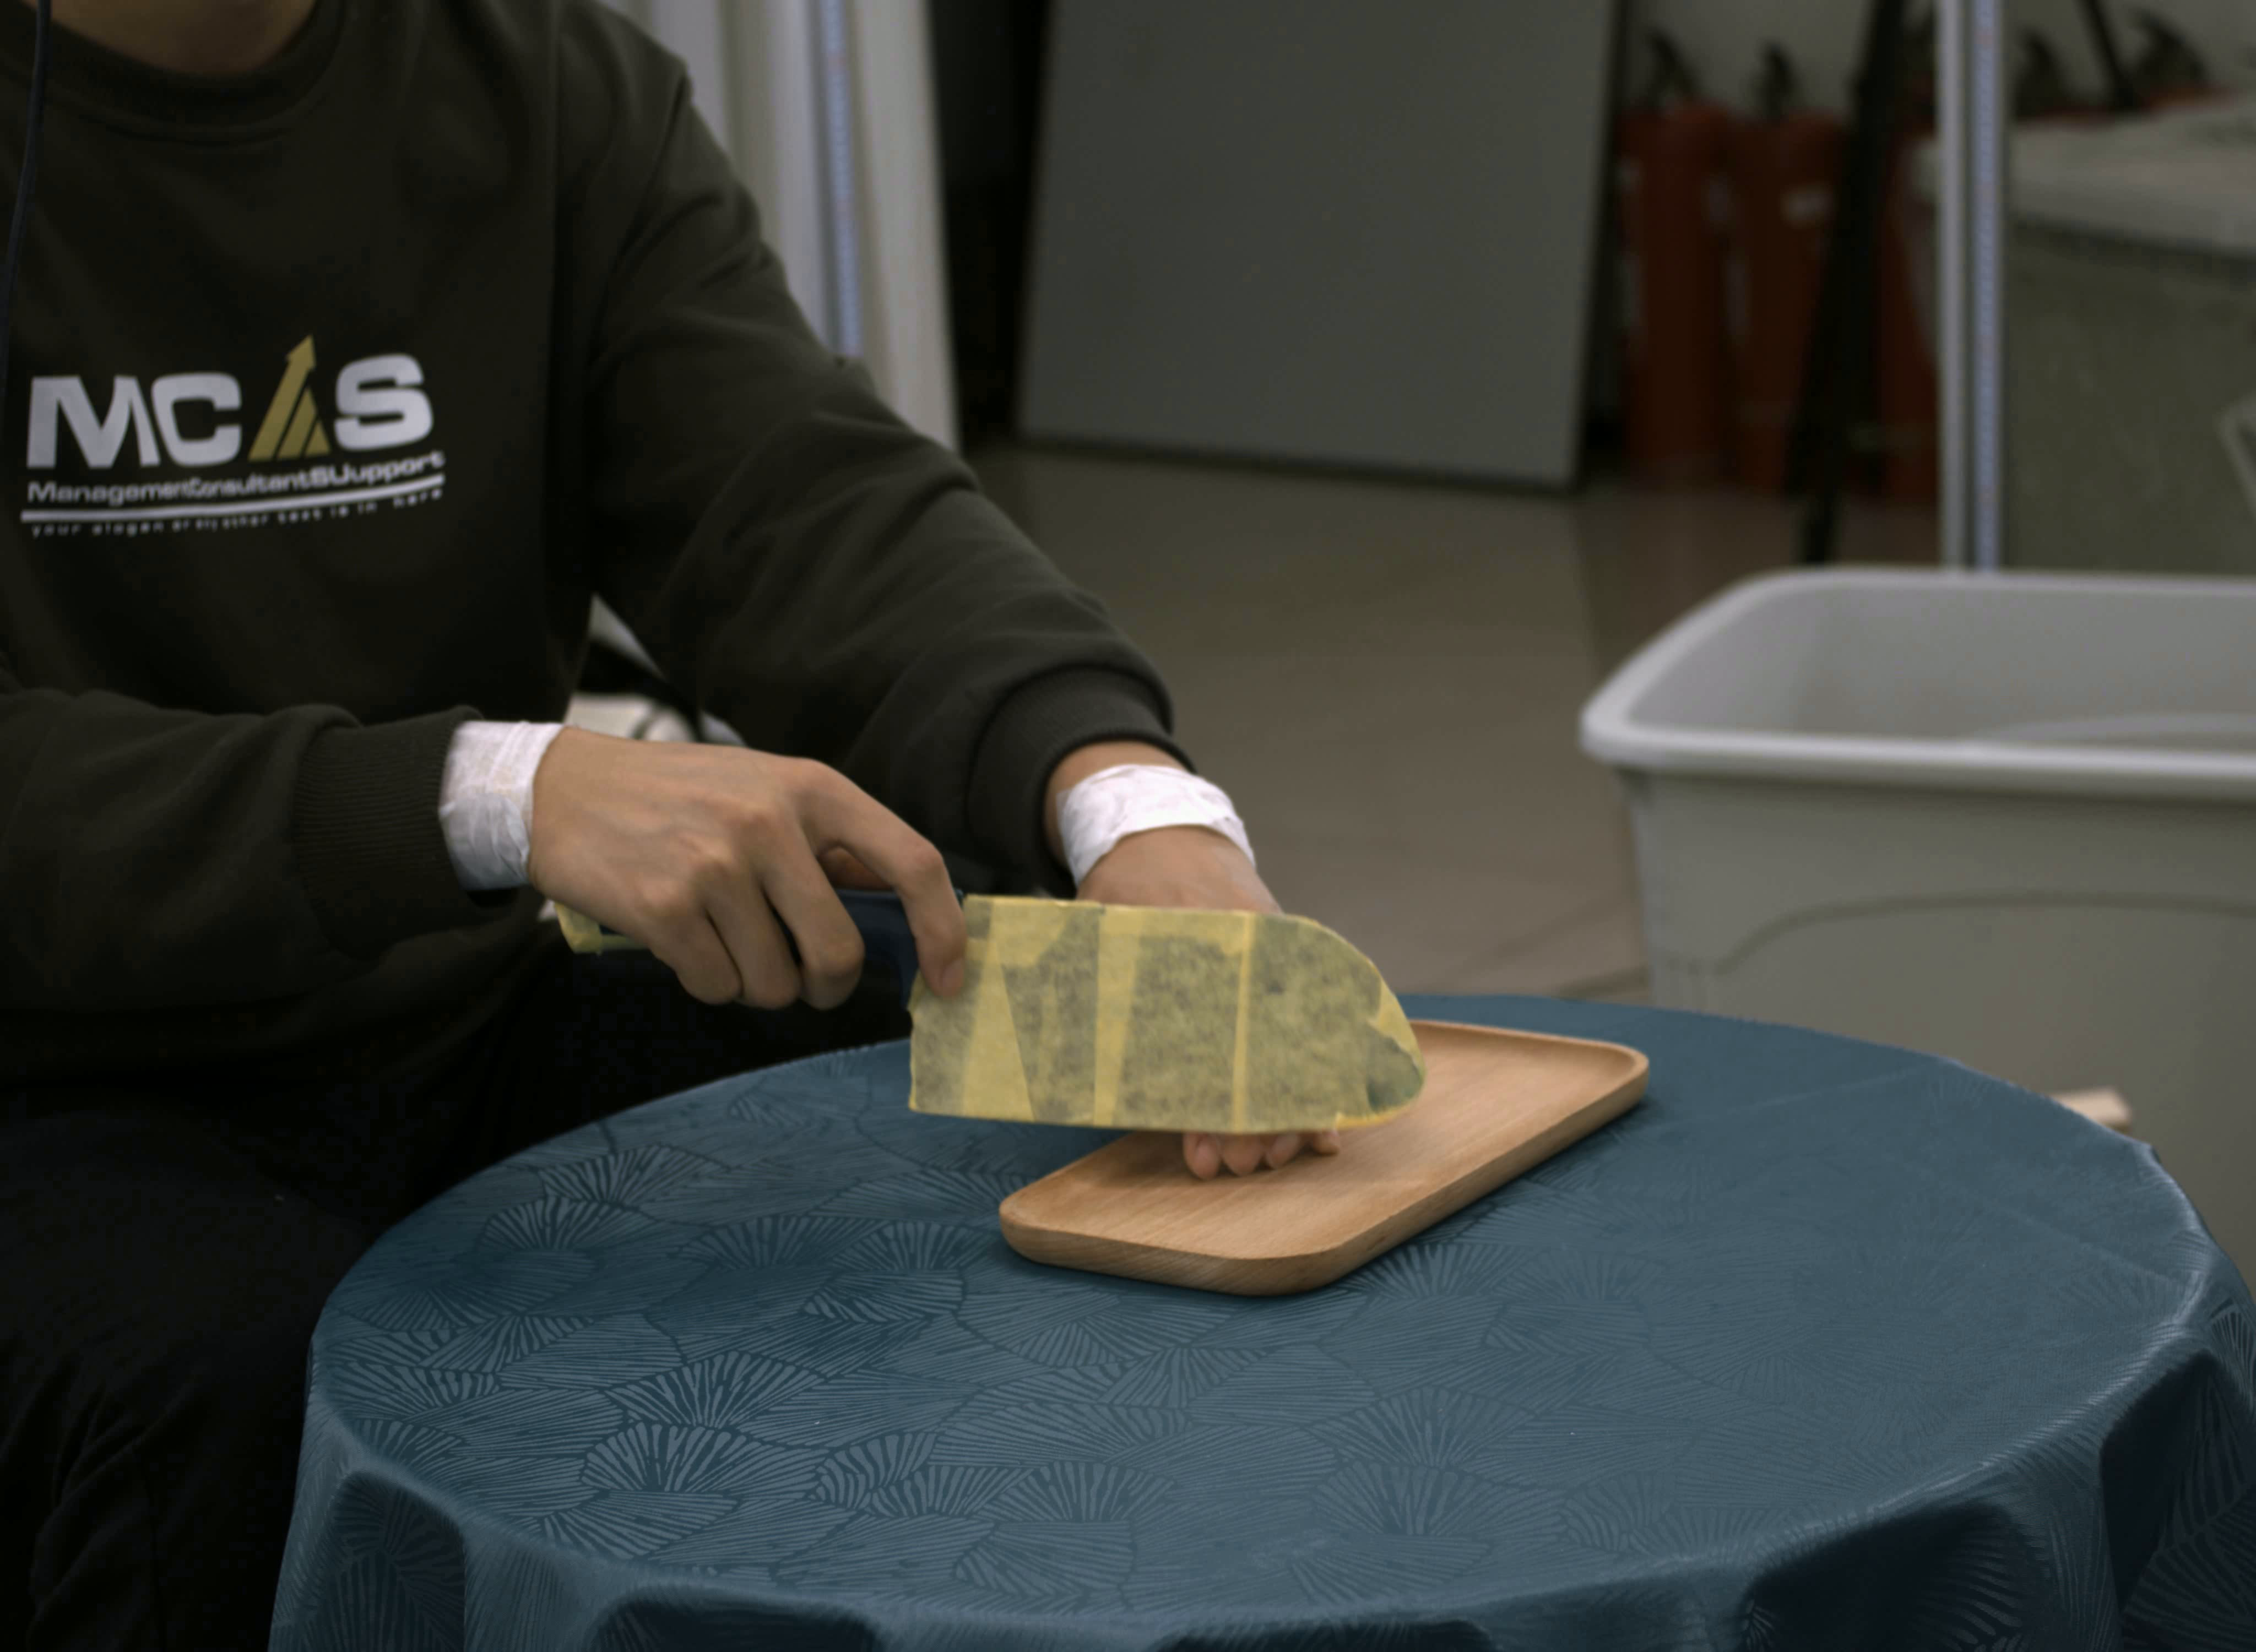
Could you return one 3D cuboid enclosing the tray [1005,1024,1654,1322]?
[{"bbox_3d":[0.070,0.112,1.774,0.131,0.023,0.246,2,17,35],"label":"tray"}]

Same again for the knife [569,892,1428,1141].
[{"bbox_3d":[-0.043,0.060,1.756,0.287,0.082,0.027,6,-4,9],"label":"knife"}]
